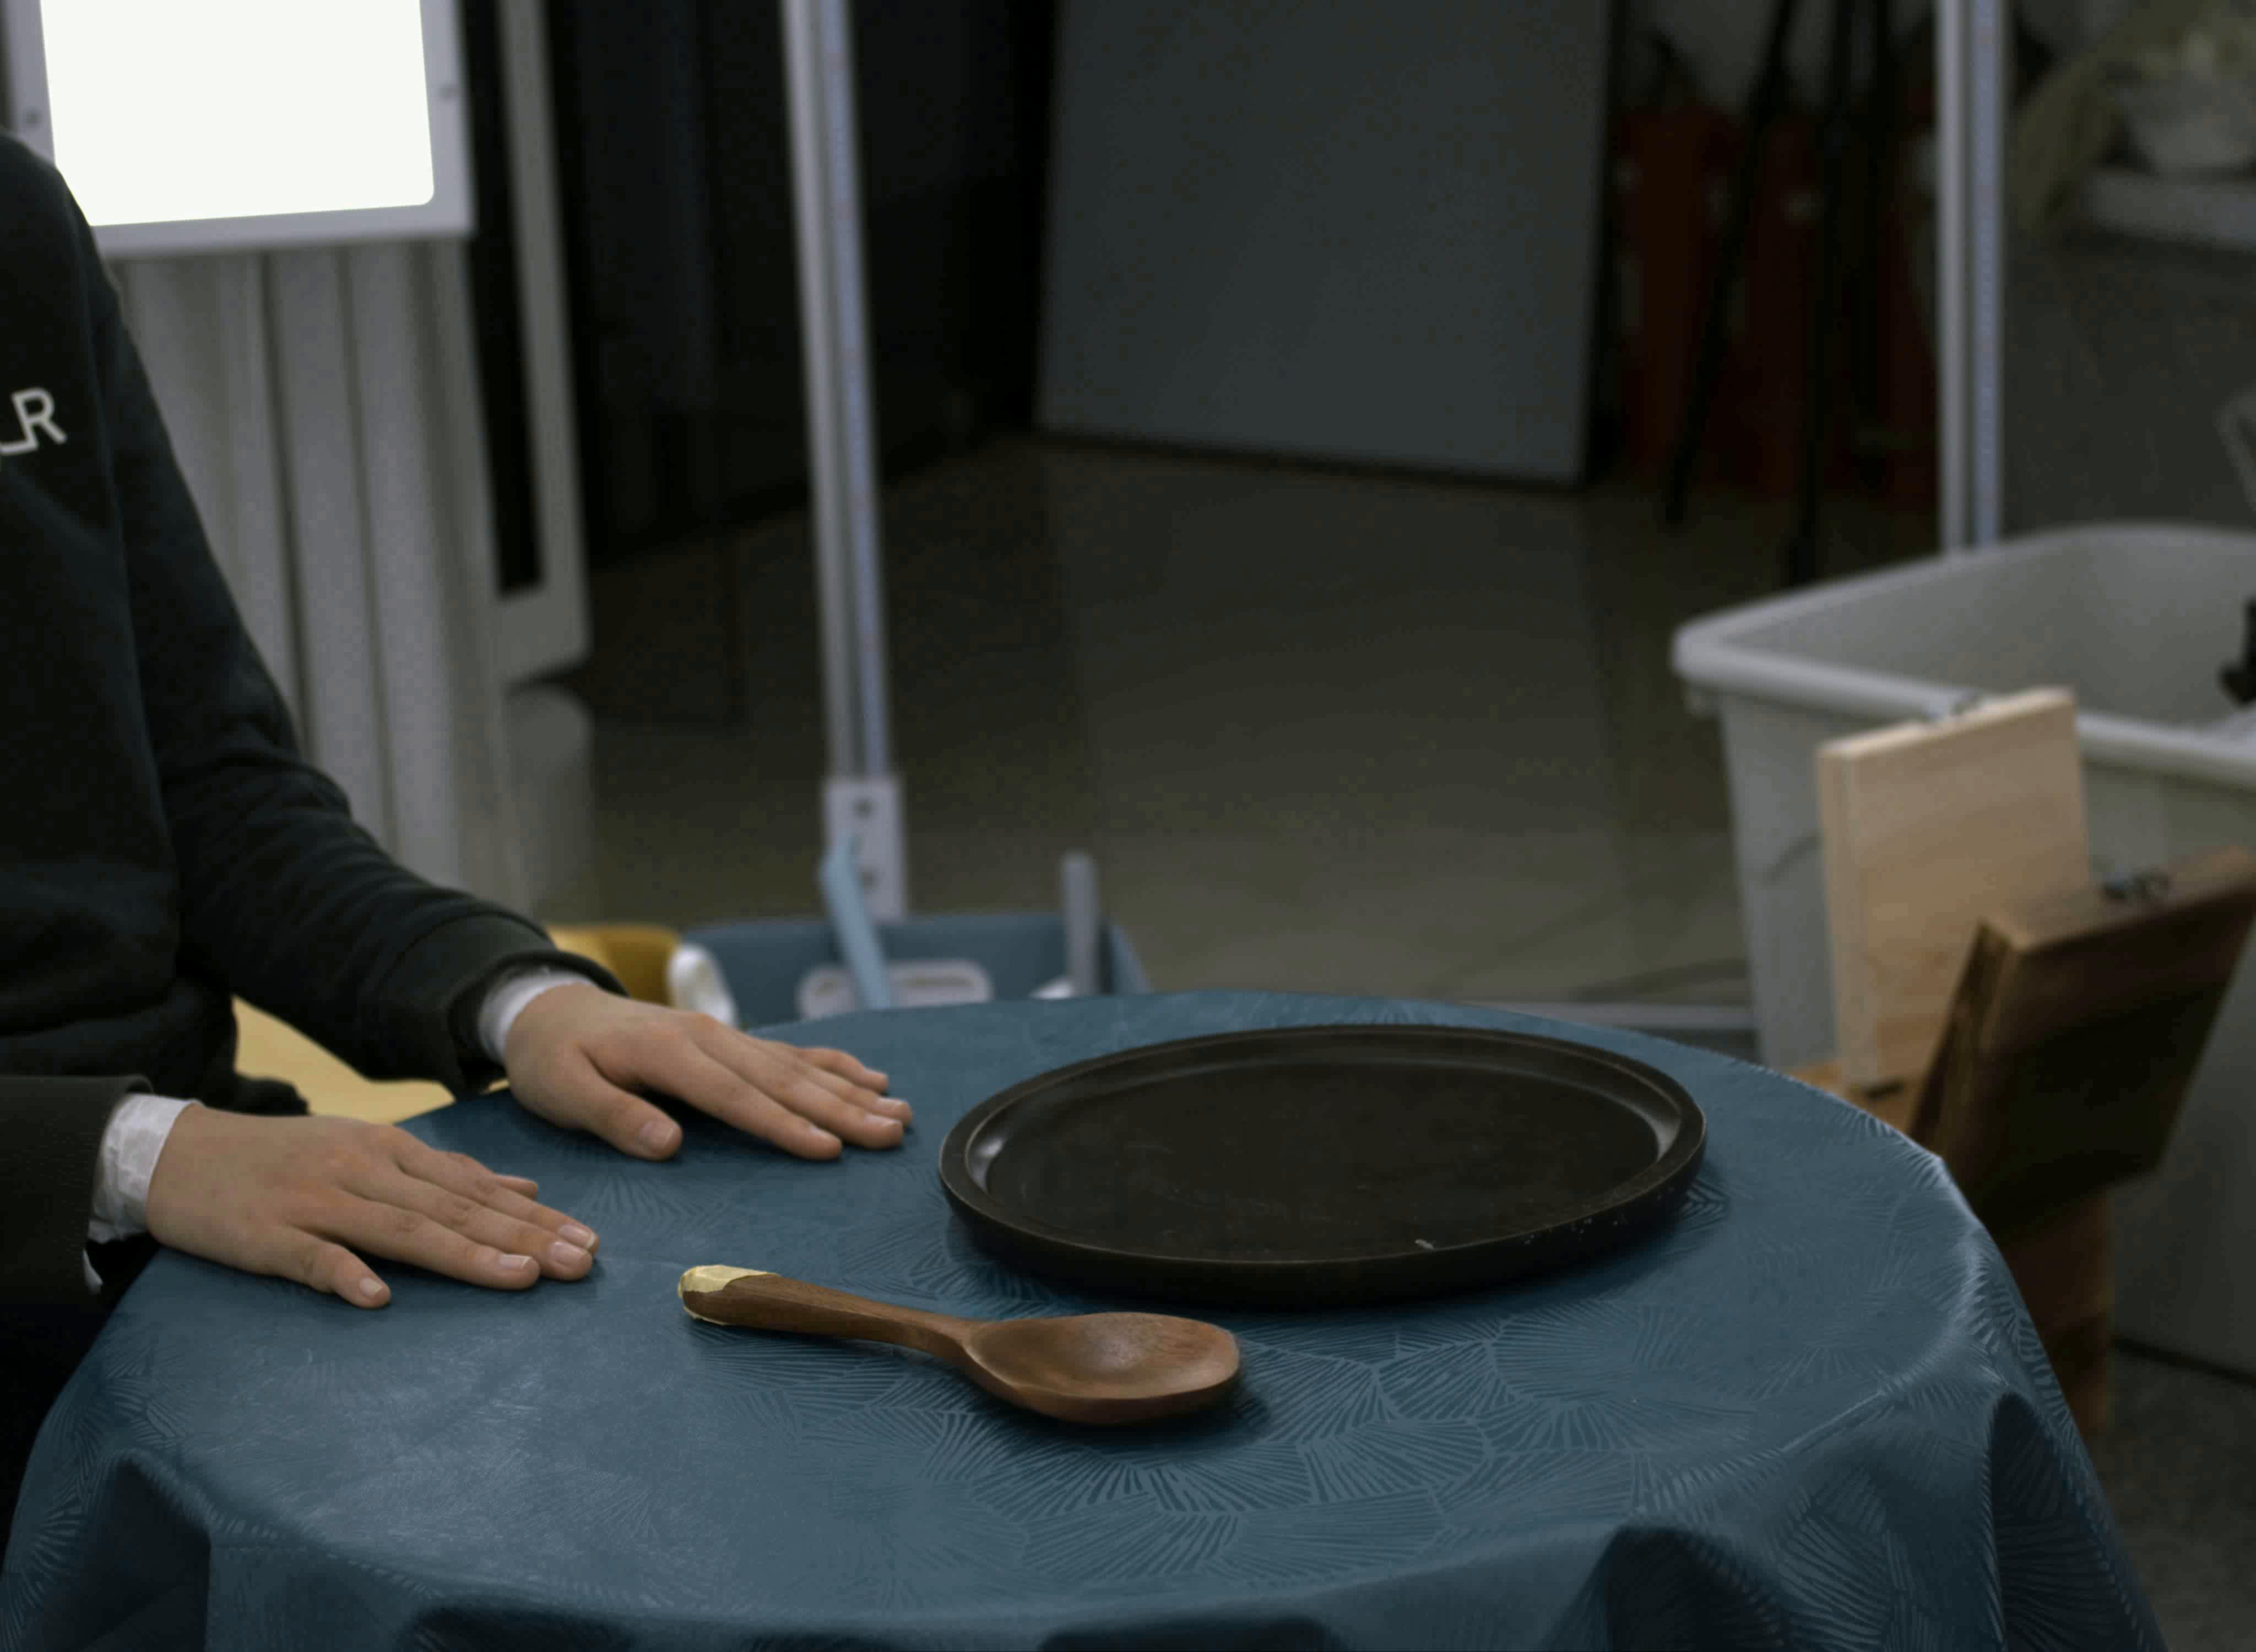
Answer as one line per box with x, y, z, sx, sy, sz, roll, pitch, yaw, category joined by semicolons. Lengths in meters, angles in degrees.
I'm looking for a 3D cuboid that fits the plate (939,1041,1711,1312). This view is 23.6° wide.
0.064;0.111;1.750;0.251;0.029;0.255;-3;14;0;plate

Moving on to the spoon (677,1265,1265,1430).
-0.051;0.155;1.615;0.217;0.017;0.074;7;18;38;spoon
